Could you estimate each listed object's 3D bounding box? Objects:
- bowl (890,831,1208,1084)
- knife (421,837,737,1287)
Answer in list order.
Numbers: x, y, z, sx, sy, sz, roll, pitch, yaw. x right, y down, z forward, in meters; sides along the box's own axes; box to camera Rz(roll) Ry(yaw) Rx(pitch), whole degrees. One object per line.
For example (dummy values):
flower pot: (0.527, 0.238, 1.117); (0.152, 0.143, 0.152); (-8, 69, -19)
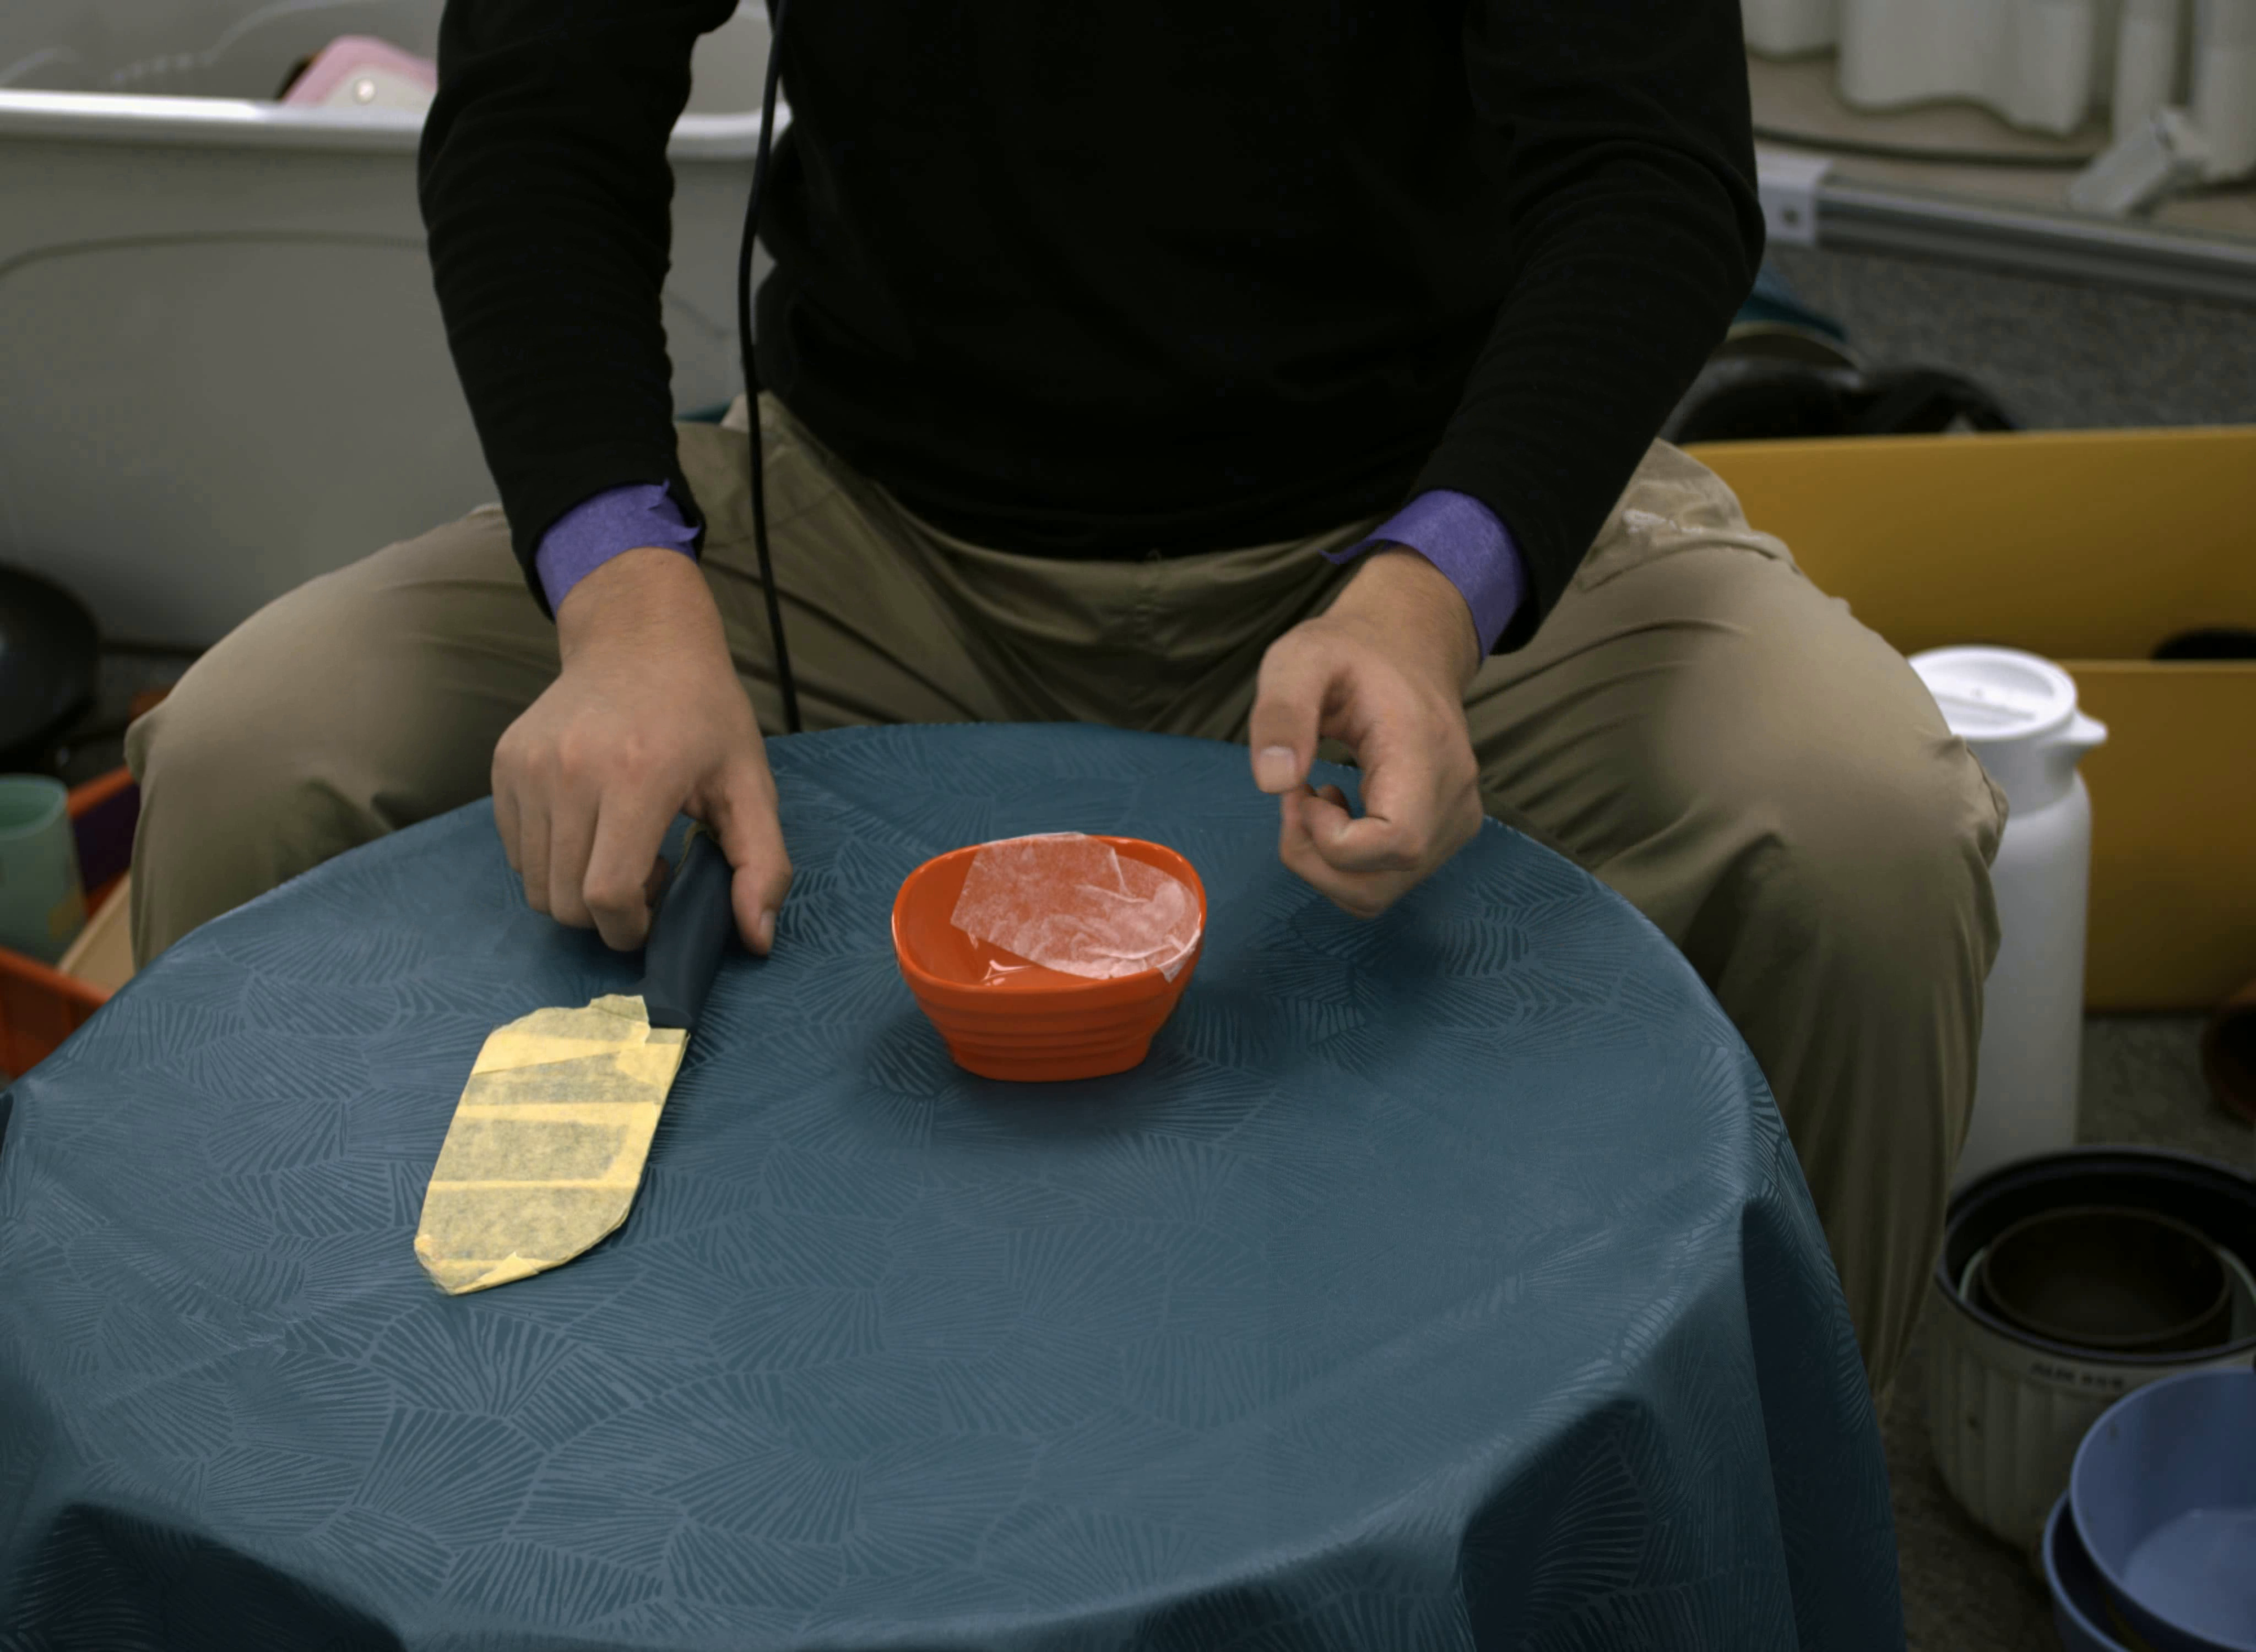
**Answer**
bowl: (-0.026, 0.050, 1.943); (0.118, 0.051, 0.121); (-4, 28, 2)
knife: (-0.186, 0.080, 1.943); (0.080, 0.027, 0.294); (3, 29, 9)
